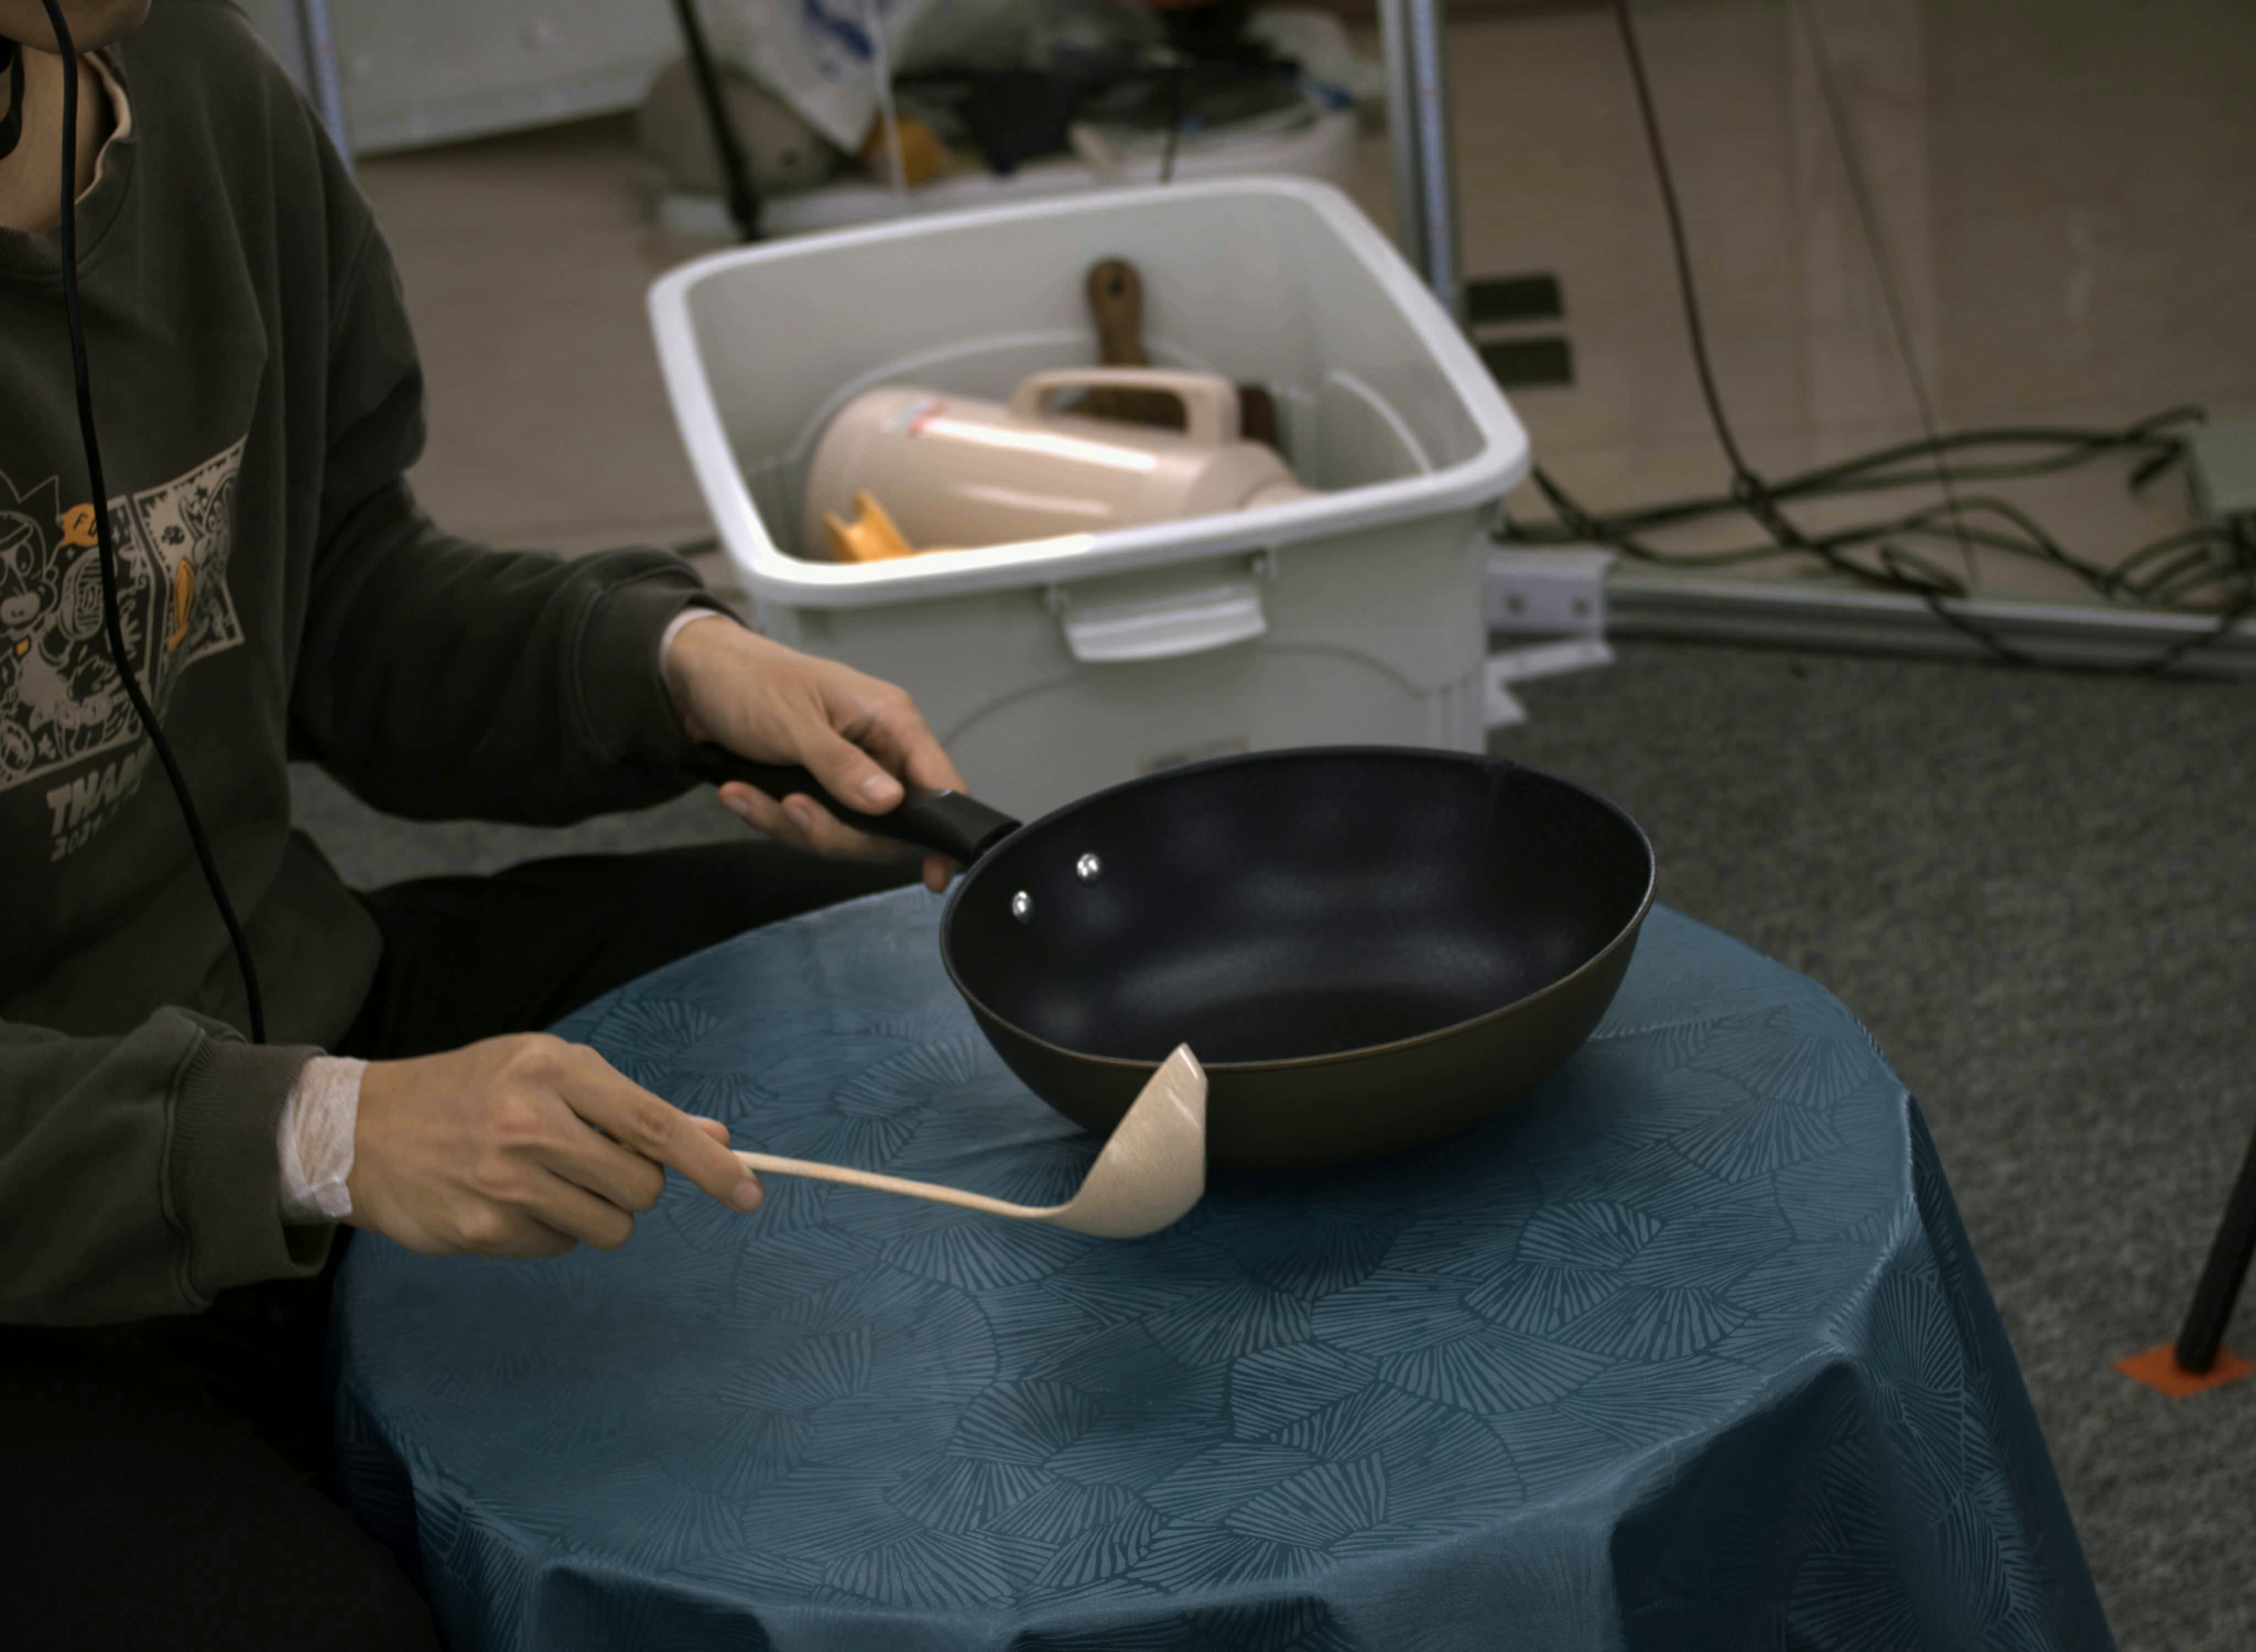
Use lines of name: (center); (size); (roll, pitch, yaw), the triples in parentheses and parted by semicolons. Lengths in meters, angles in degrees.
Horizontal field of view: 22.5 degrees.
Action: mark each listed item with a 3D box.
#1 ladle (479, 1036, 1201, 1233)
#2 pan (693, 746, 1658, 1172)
ladle: (-0.099, 0.095, 2.006); (0.254, 0.072, 0.072); (8, -5, 2)
pan: (-0.002, 0.045, 2.250); (0.460, 0.088, 0.285); (13, 31, 38)
